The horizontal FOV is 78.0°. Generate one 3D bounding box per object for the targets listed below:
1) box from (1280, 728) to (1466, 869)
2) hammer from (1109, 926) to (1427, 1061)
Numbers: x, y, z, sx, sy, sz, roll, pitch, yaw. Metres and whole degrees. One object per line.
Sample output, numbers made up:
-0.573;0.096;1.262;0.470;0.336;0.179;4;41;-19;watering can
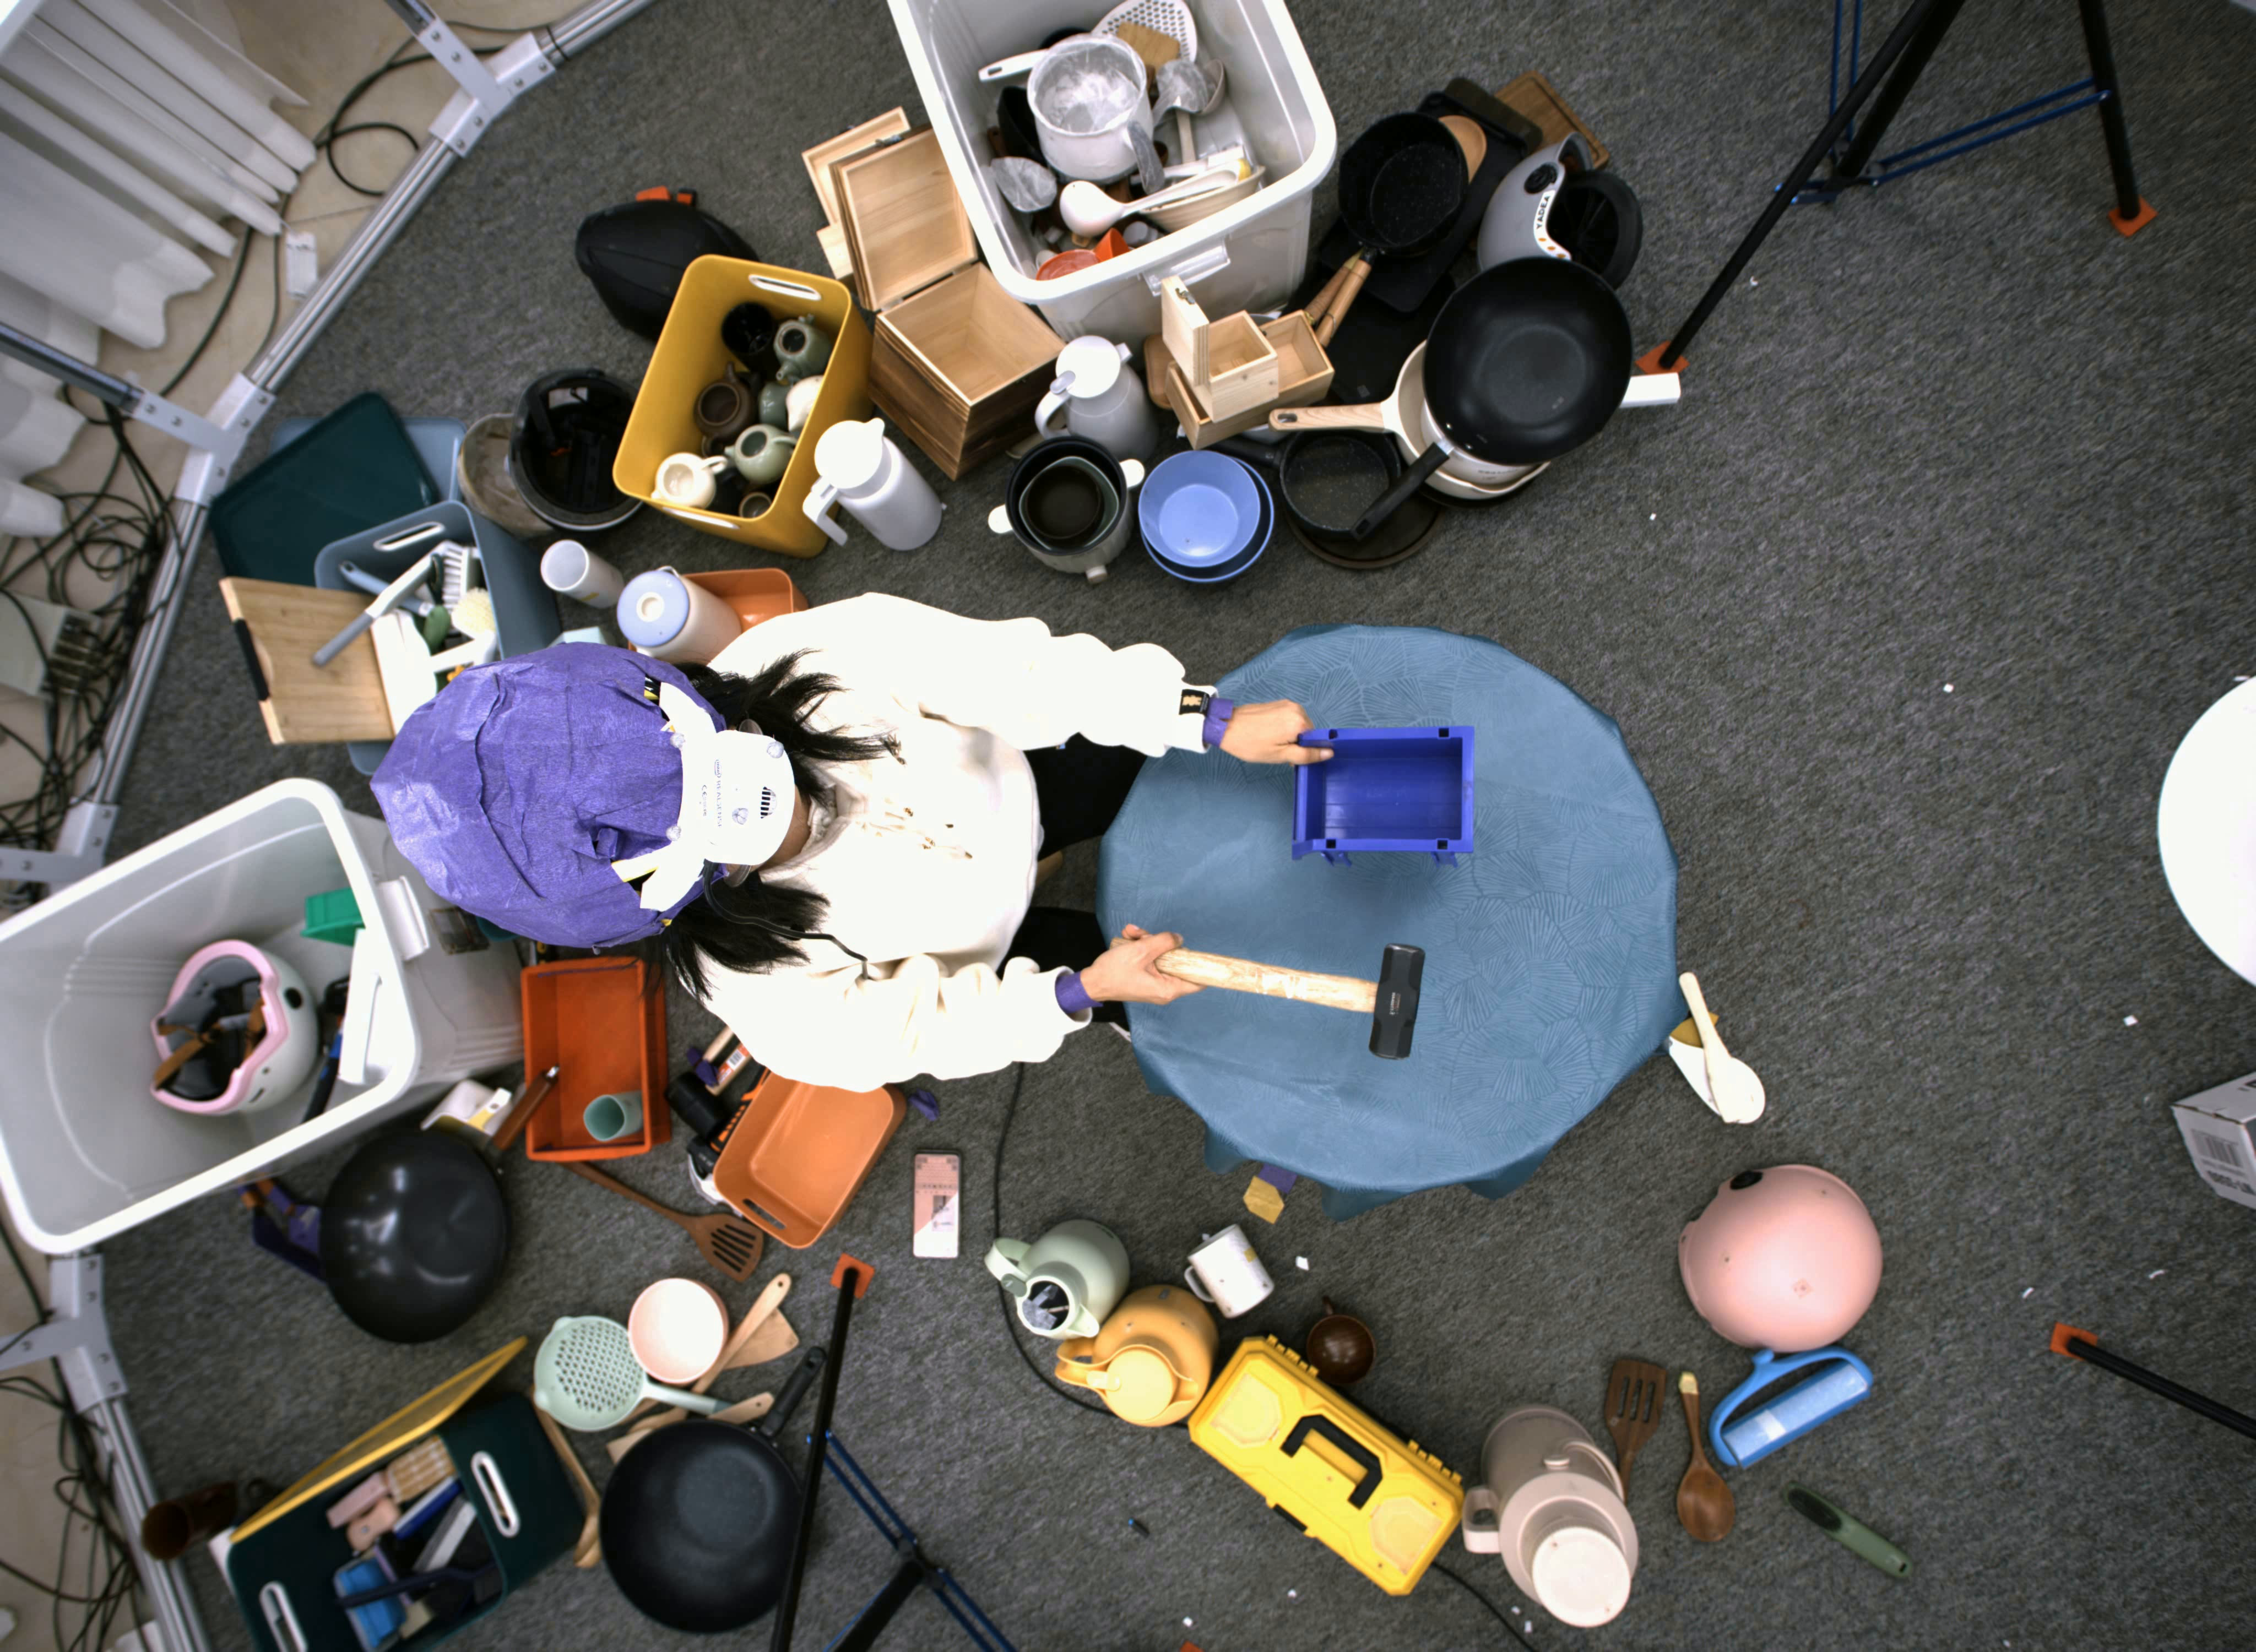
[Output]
0.237;-0.028;1.342;0.180;0.082;0.123;1;82;14;box
0.128;0.143;1.343;0.306;0.038;0.107;10;95;17;hammer
